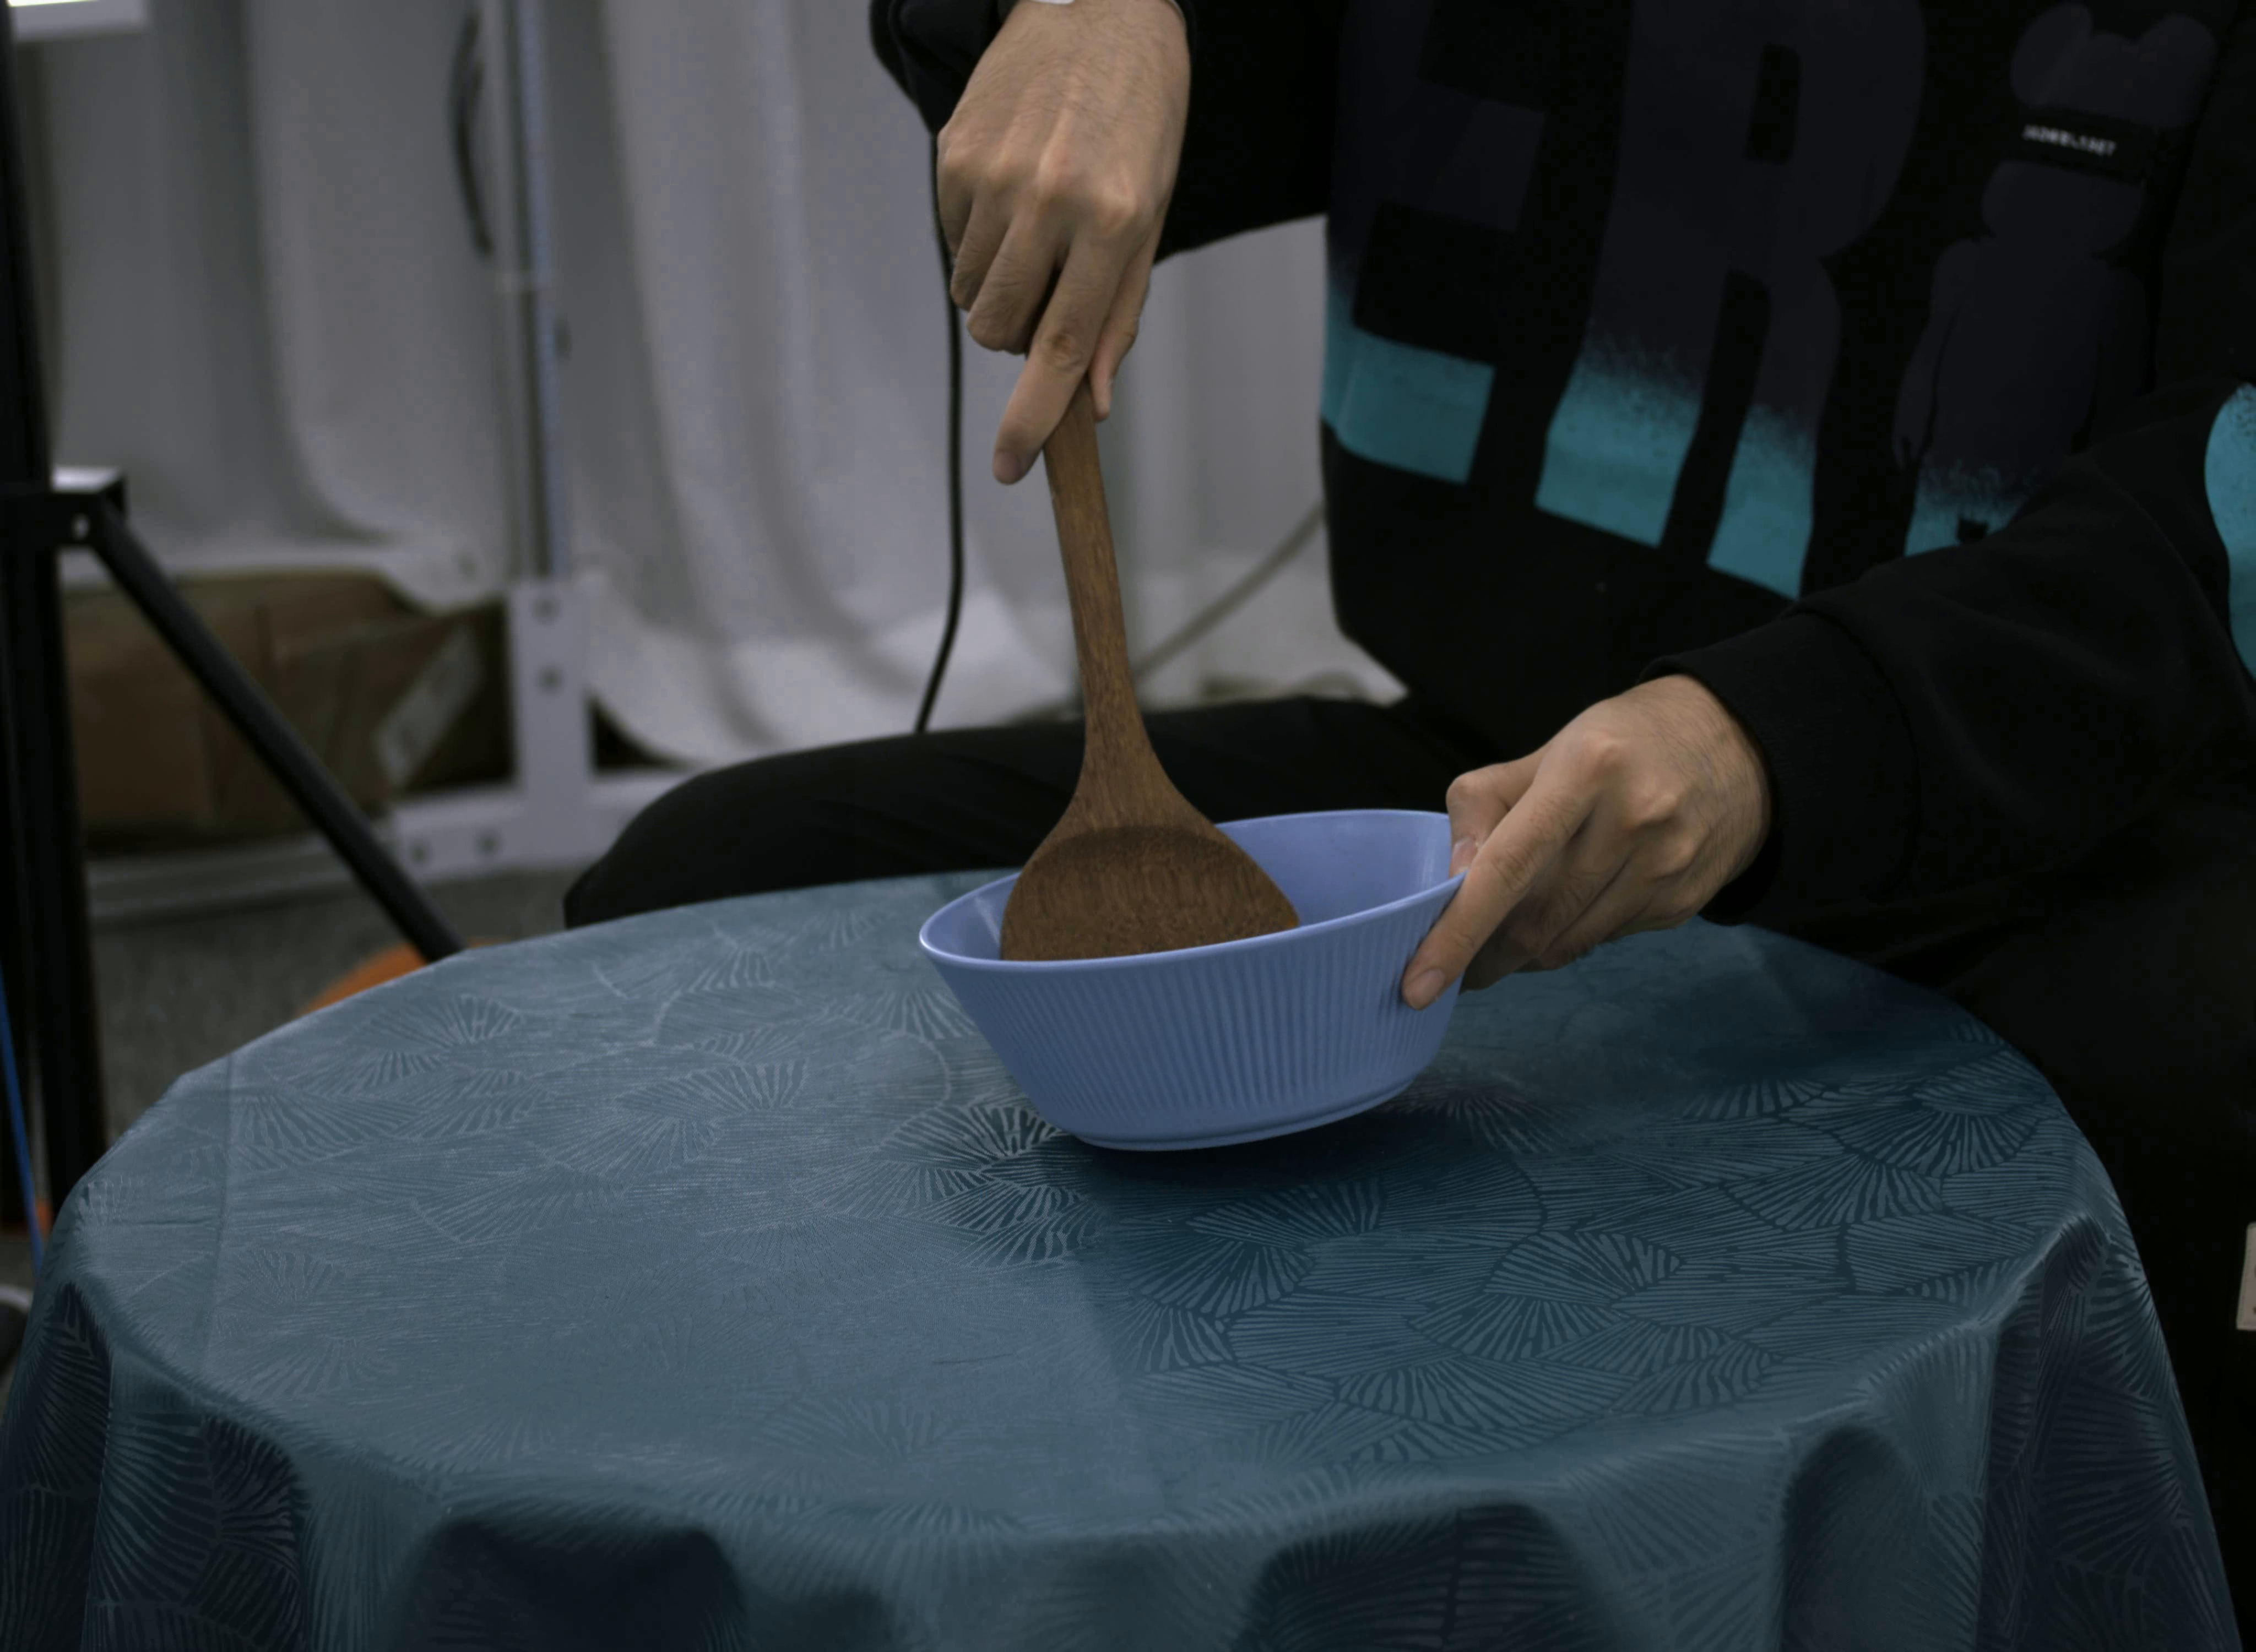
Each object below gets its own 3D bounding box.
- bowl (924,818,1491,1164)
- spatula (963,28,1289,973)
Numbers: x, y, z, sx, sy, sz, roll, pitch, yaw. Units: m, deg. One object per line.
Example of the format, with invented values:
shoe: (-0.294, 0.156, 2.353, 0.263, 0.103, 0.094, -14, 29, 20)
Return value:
bowl: (0.031, 0.053, 1.596, 0.175, 0.070, 0.176, -14, 9, 1)
spatula: (-0.014, -0.091, 1.669, 0.095, 0.391, 0.016, -4, -27, -9)
